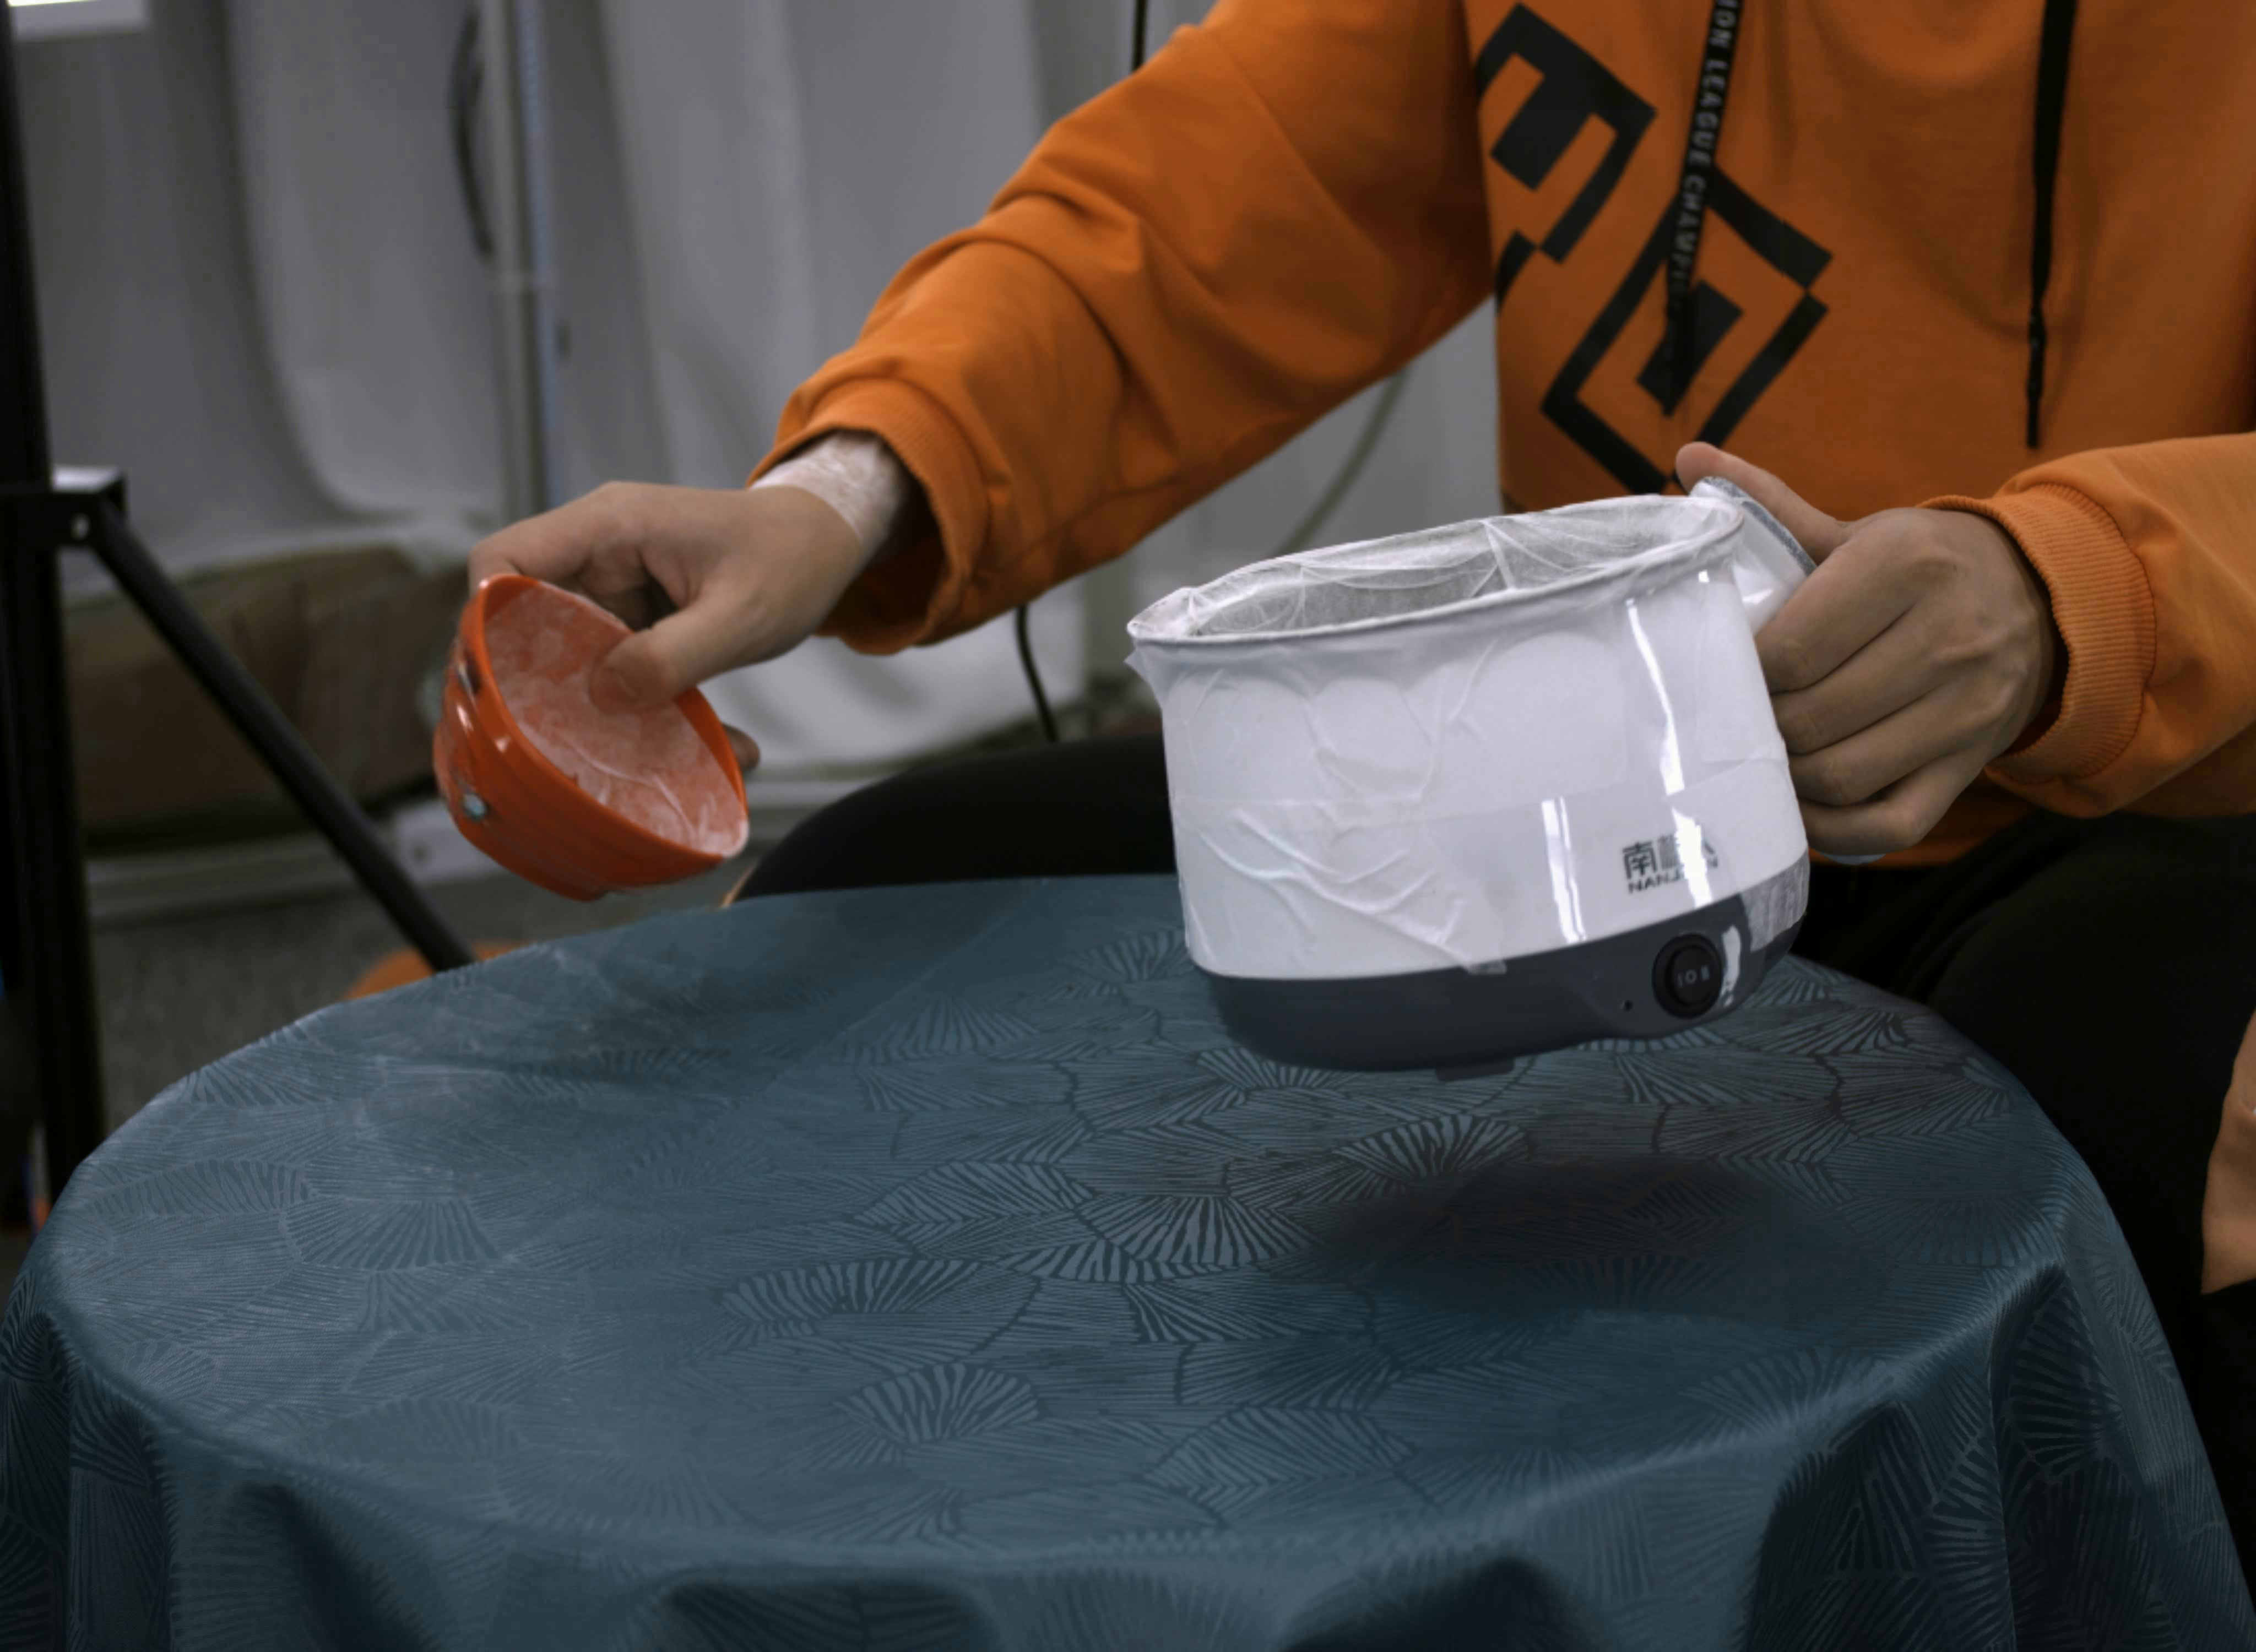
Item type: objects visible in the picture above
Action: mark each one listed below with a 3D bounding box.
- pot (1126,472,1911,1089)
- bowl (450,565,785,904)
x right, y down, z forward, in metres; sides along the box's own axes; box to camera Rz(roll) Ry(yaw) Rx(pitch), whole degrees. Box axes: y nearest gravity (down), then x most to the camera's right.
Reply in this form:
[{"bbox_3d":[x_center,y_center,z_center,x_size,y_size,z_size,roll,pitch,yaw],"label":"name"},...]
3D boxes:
[{"bbox_3d":[0.120,-0.017,1.508,0.229,0.136,0.182,-16,11,-30],"label":"pot"},{"bbox_3d":[-0.169,-0.021,1.686,0.116,0.052,0.120,20,42,-22],"label":"bowl"}]
